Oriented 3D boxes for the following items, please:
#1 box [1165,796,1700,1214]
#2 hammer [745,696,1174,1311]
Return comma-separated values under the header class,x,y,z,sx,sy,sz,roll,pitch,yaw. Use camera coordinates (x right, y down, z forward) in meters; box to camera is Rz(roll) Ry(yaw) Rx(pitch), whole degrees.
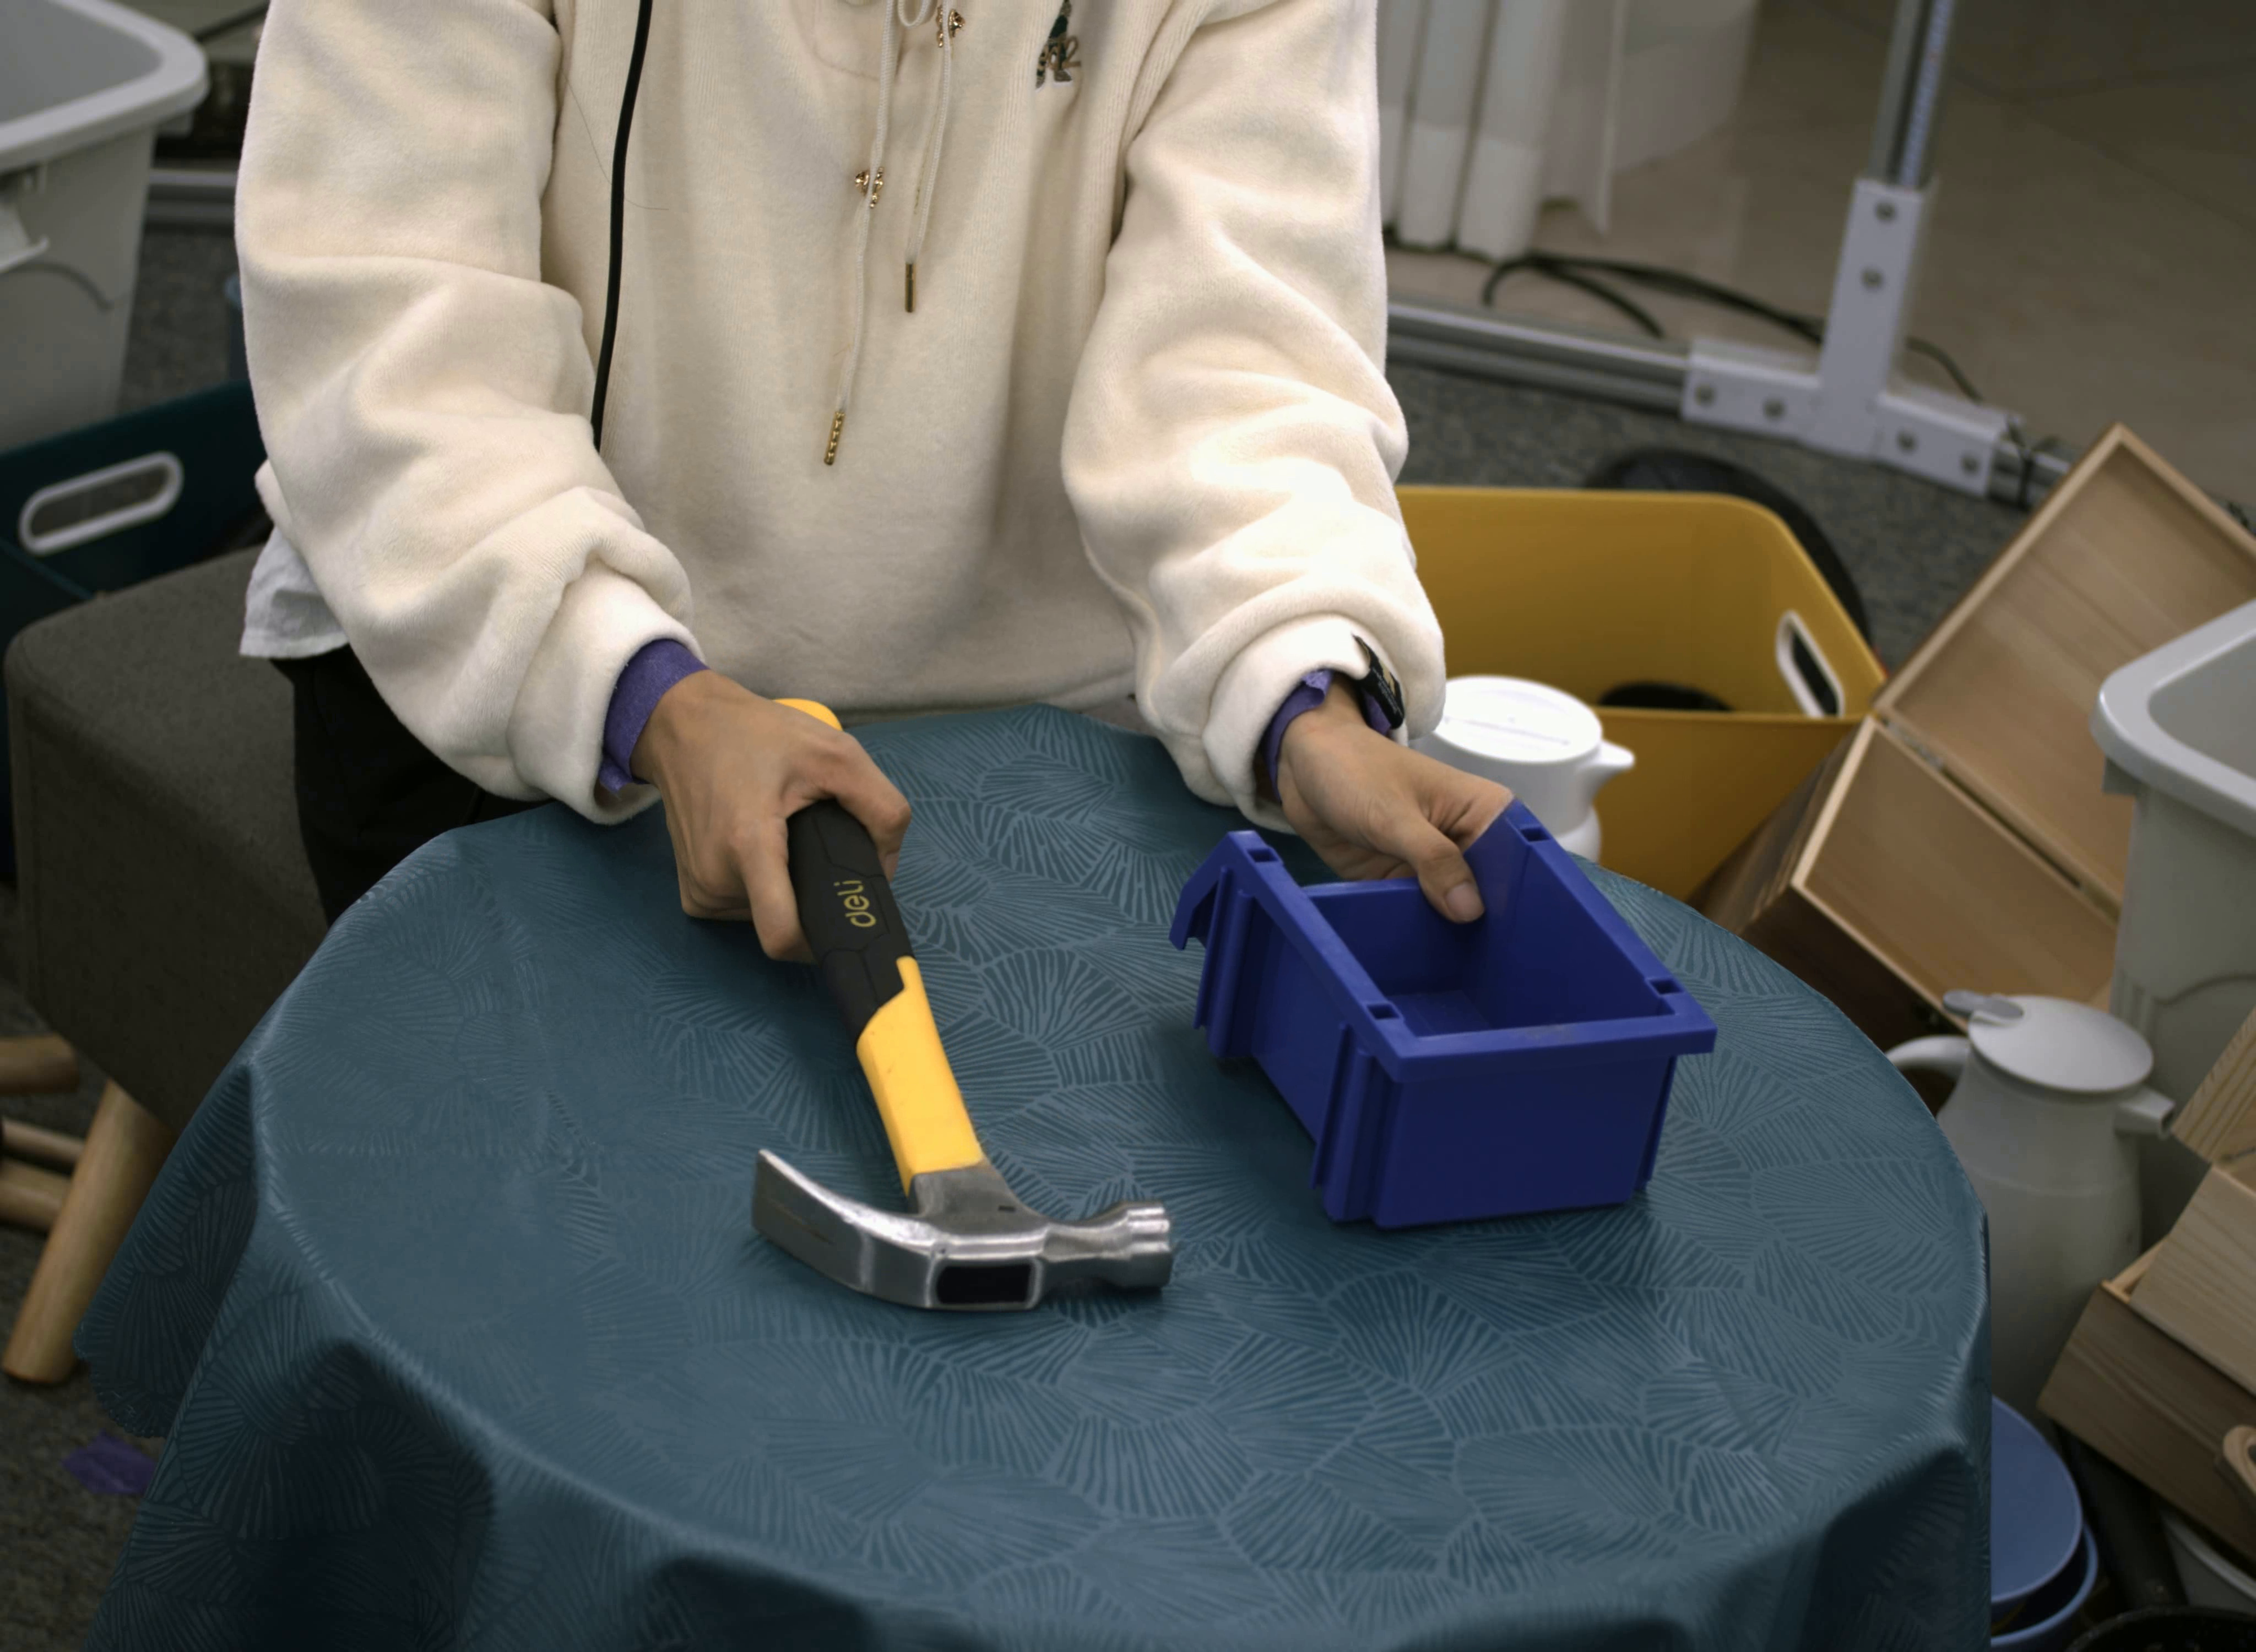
class,x,y,z,sx,sy,sz,roll,pitch,yaw
box,0.100,0.057,1.857,0.123,0.081,0.181,-4,33,-22
hammer,-0.086,0.053,1.851,0.130,0.032,0.341,-3,34,-14
